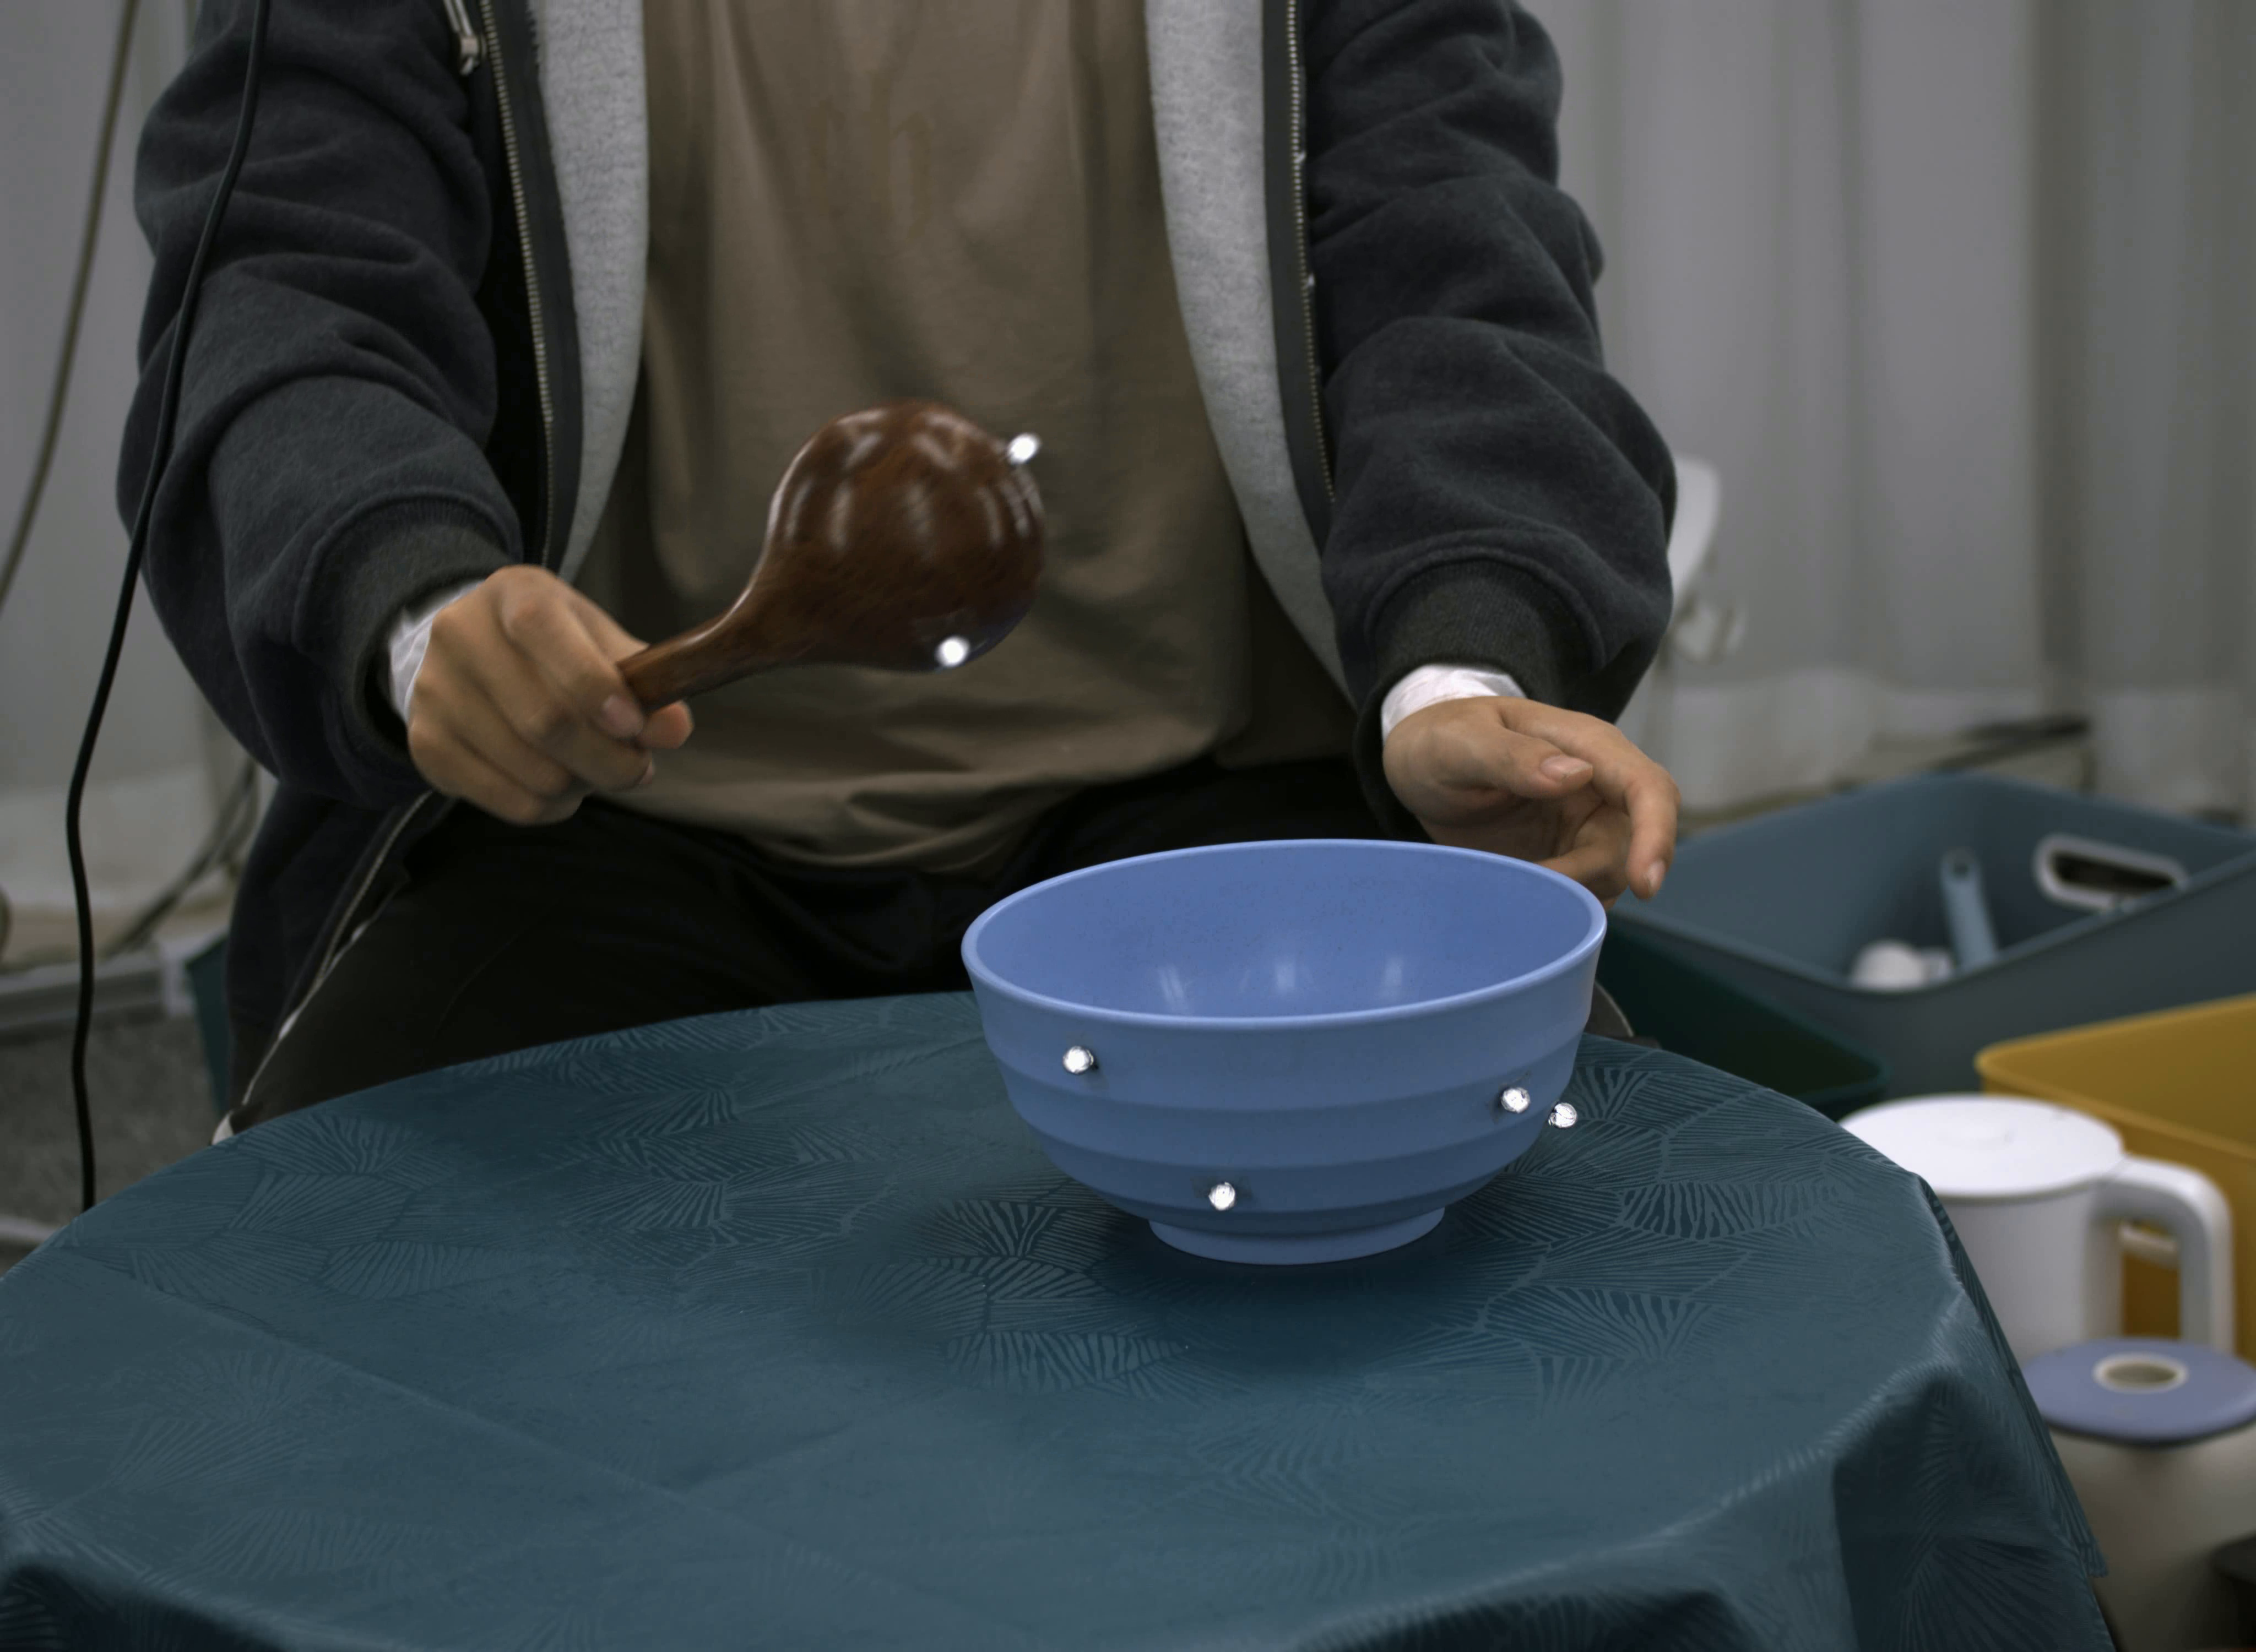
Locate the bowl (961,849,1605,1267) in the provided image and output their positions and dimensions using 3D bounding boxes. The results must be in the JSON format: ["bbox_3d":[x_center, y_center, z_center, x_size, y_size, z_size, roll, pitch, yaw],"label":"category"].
[{"bbox_3d":[0.049,0.076,1.672,0.196,0.095,0.197,-3,13,1],"label":"bowl"}]

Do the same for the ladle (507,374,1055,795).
[{"bbox_3d":[-0.111,-0.068,1.664,0.077,0.082,0.273,-38,7,-29],"label":"ladle"}]
